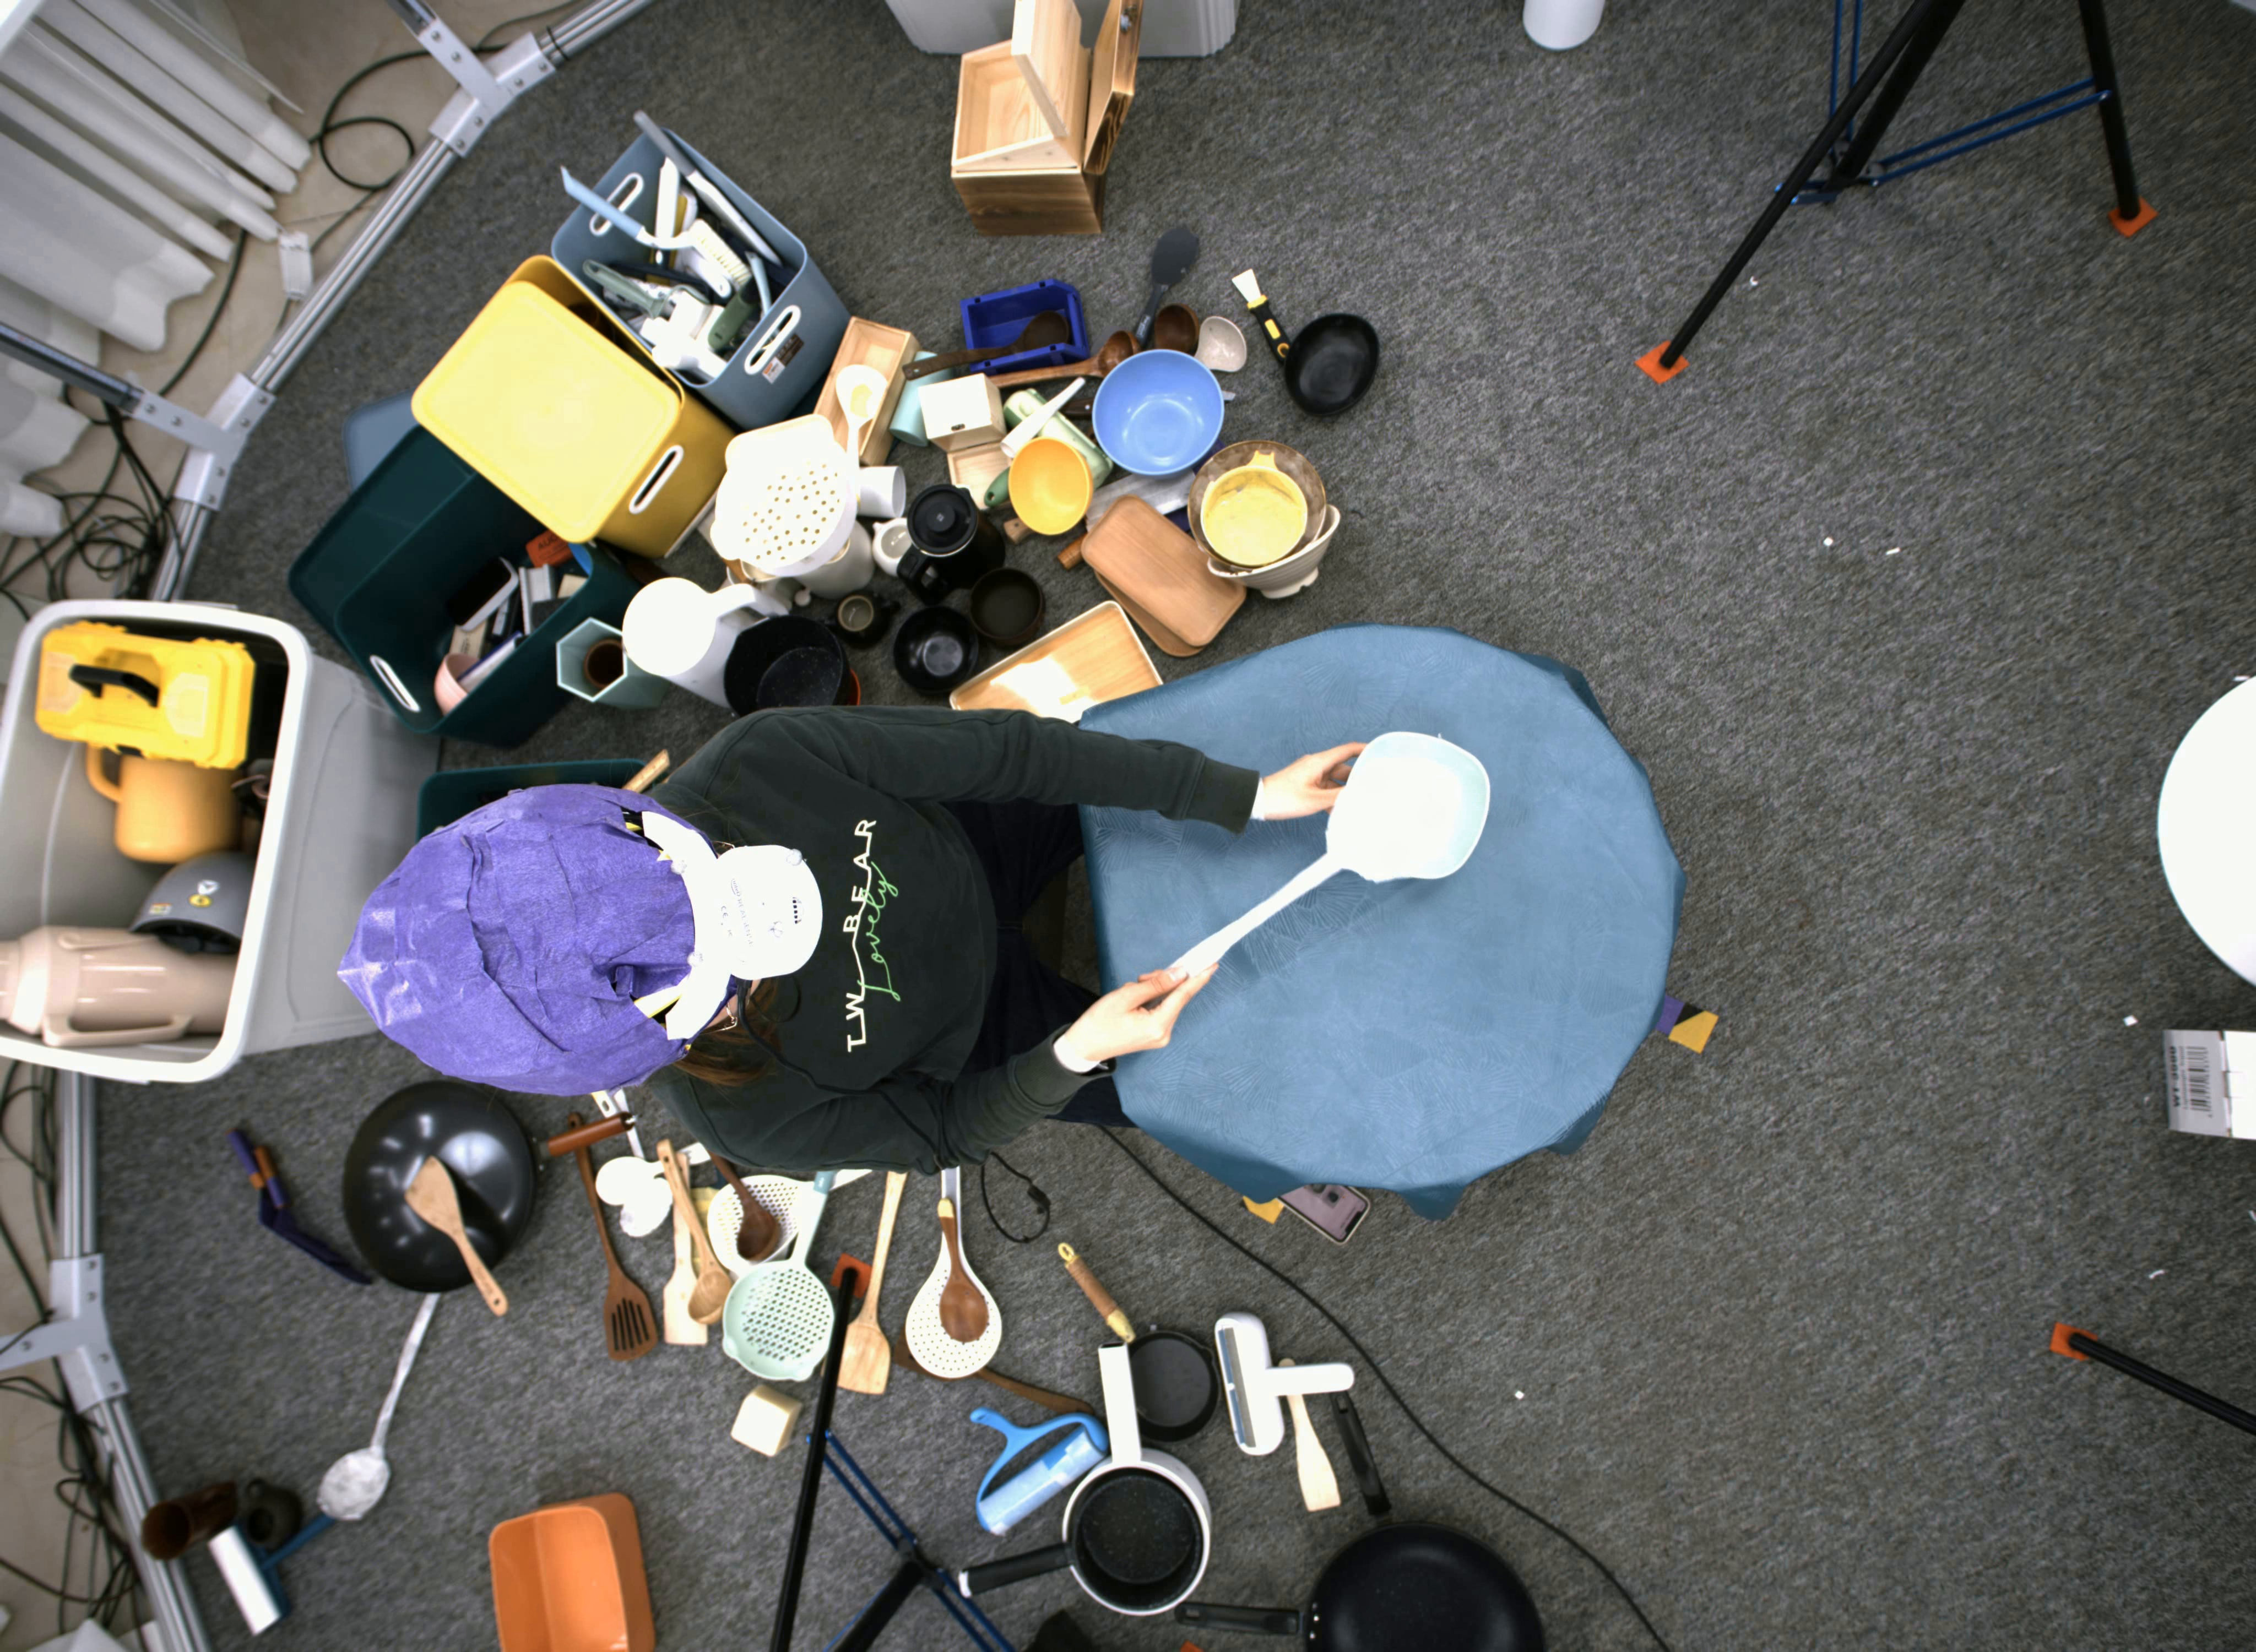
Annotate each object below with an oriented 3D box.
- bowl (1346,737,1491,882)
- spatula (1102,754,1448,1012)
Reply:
[{"bbox_3d":[0.289,-0.020,1.379,0.152,0.058,0.152,2,98,13],"label":"bowl"},{"bbox_3d":[0.124,0.071,1.266,0.367,0.044,0.098,-36,85,9],"label":"spatula"}]
